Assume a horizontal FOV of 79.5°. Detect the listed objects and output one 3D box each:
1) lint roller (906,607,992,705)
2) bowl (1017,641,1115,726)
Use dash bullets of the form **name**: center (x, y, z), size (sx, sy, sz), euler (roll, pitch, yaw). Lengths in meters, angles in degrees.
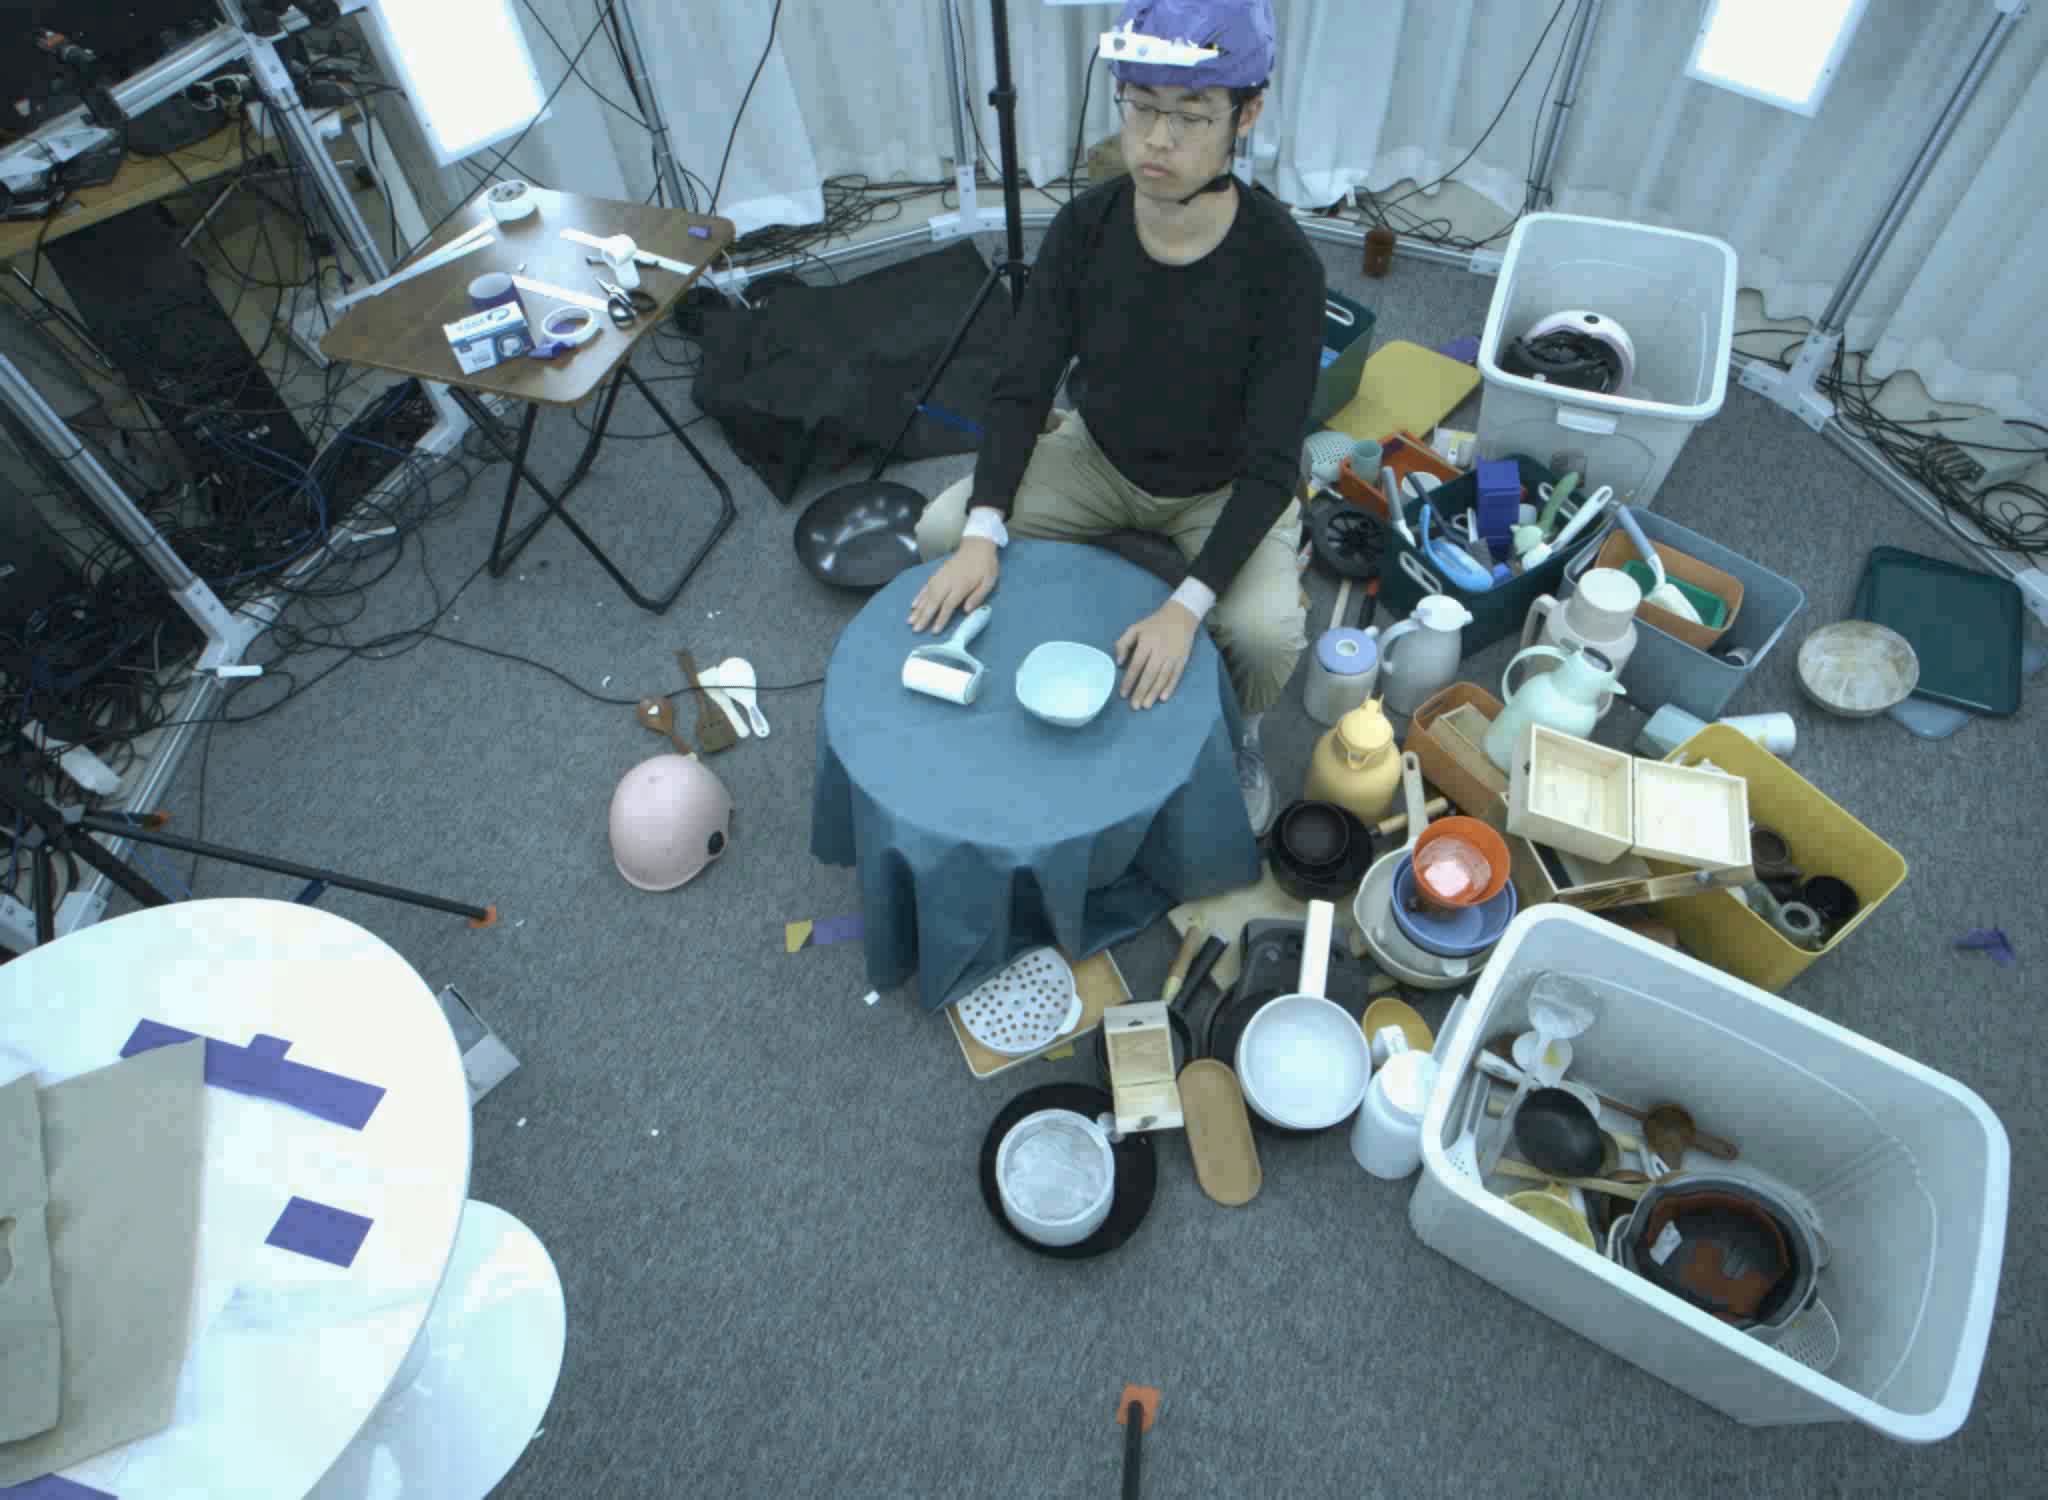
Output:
- **lint roller**: center (-0.091, -0.156, 1.874), size (0.115, 0.049, 0.197), euler (16, 56, 15)
- **bowl**: center (0.063, -0.088, 1.814), size (0.151, 0.059, 0.150), euler (-1, 56, 3)
